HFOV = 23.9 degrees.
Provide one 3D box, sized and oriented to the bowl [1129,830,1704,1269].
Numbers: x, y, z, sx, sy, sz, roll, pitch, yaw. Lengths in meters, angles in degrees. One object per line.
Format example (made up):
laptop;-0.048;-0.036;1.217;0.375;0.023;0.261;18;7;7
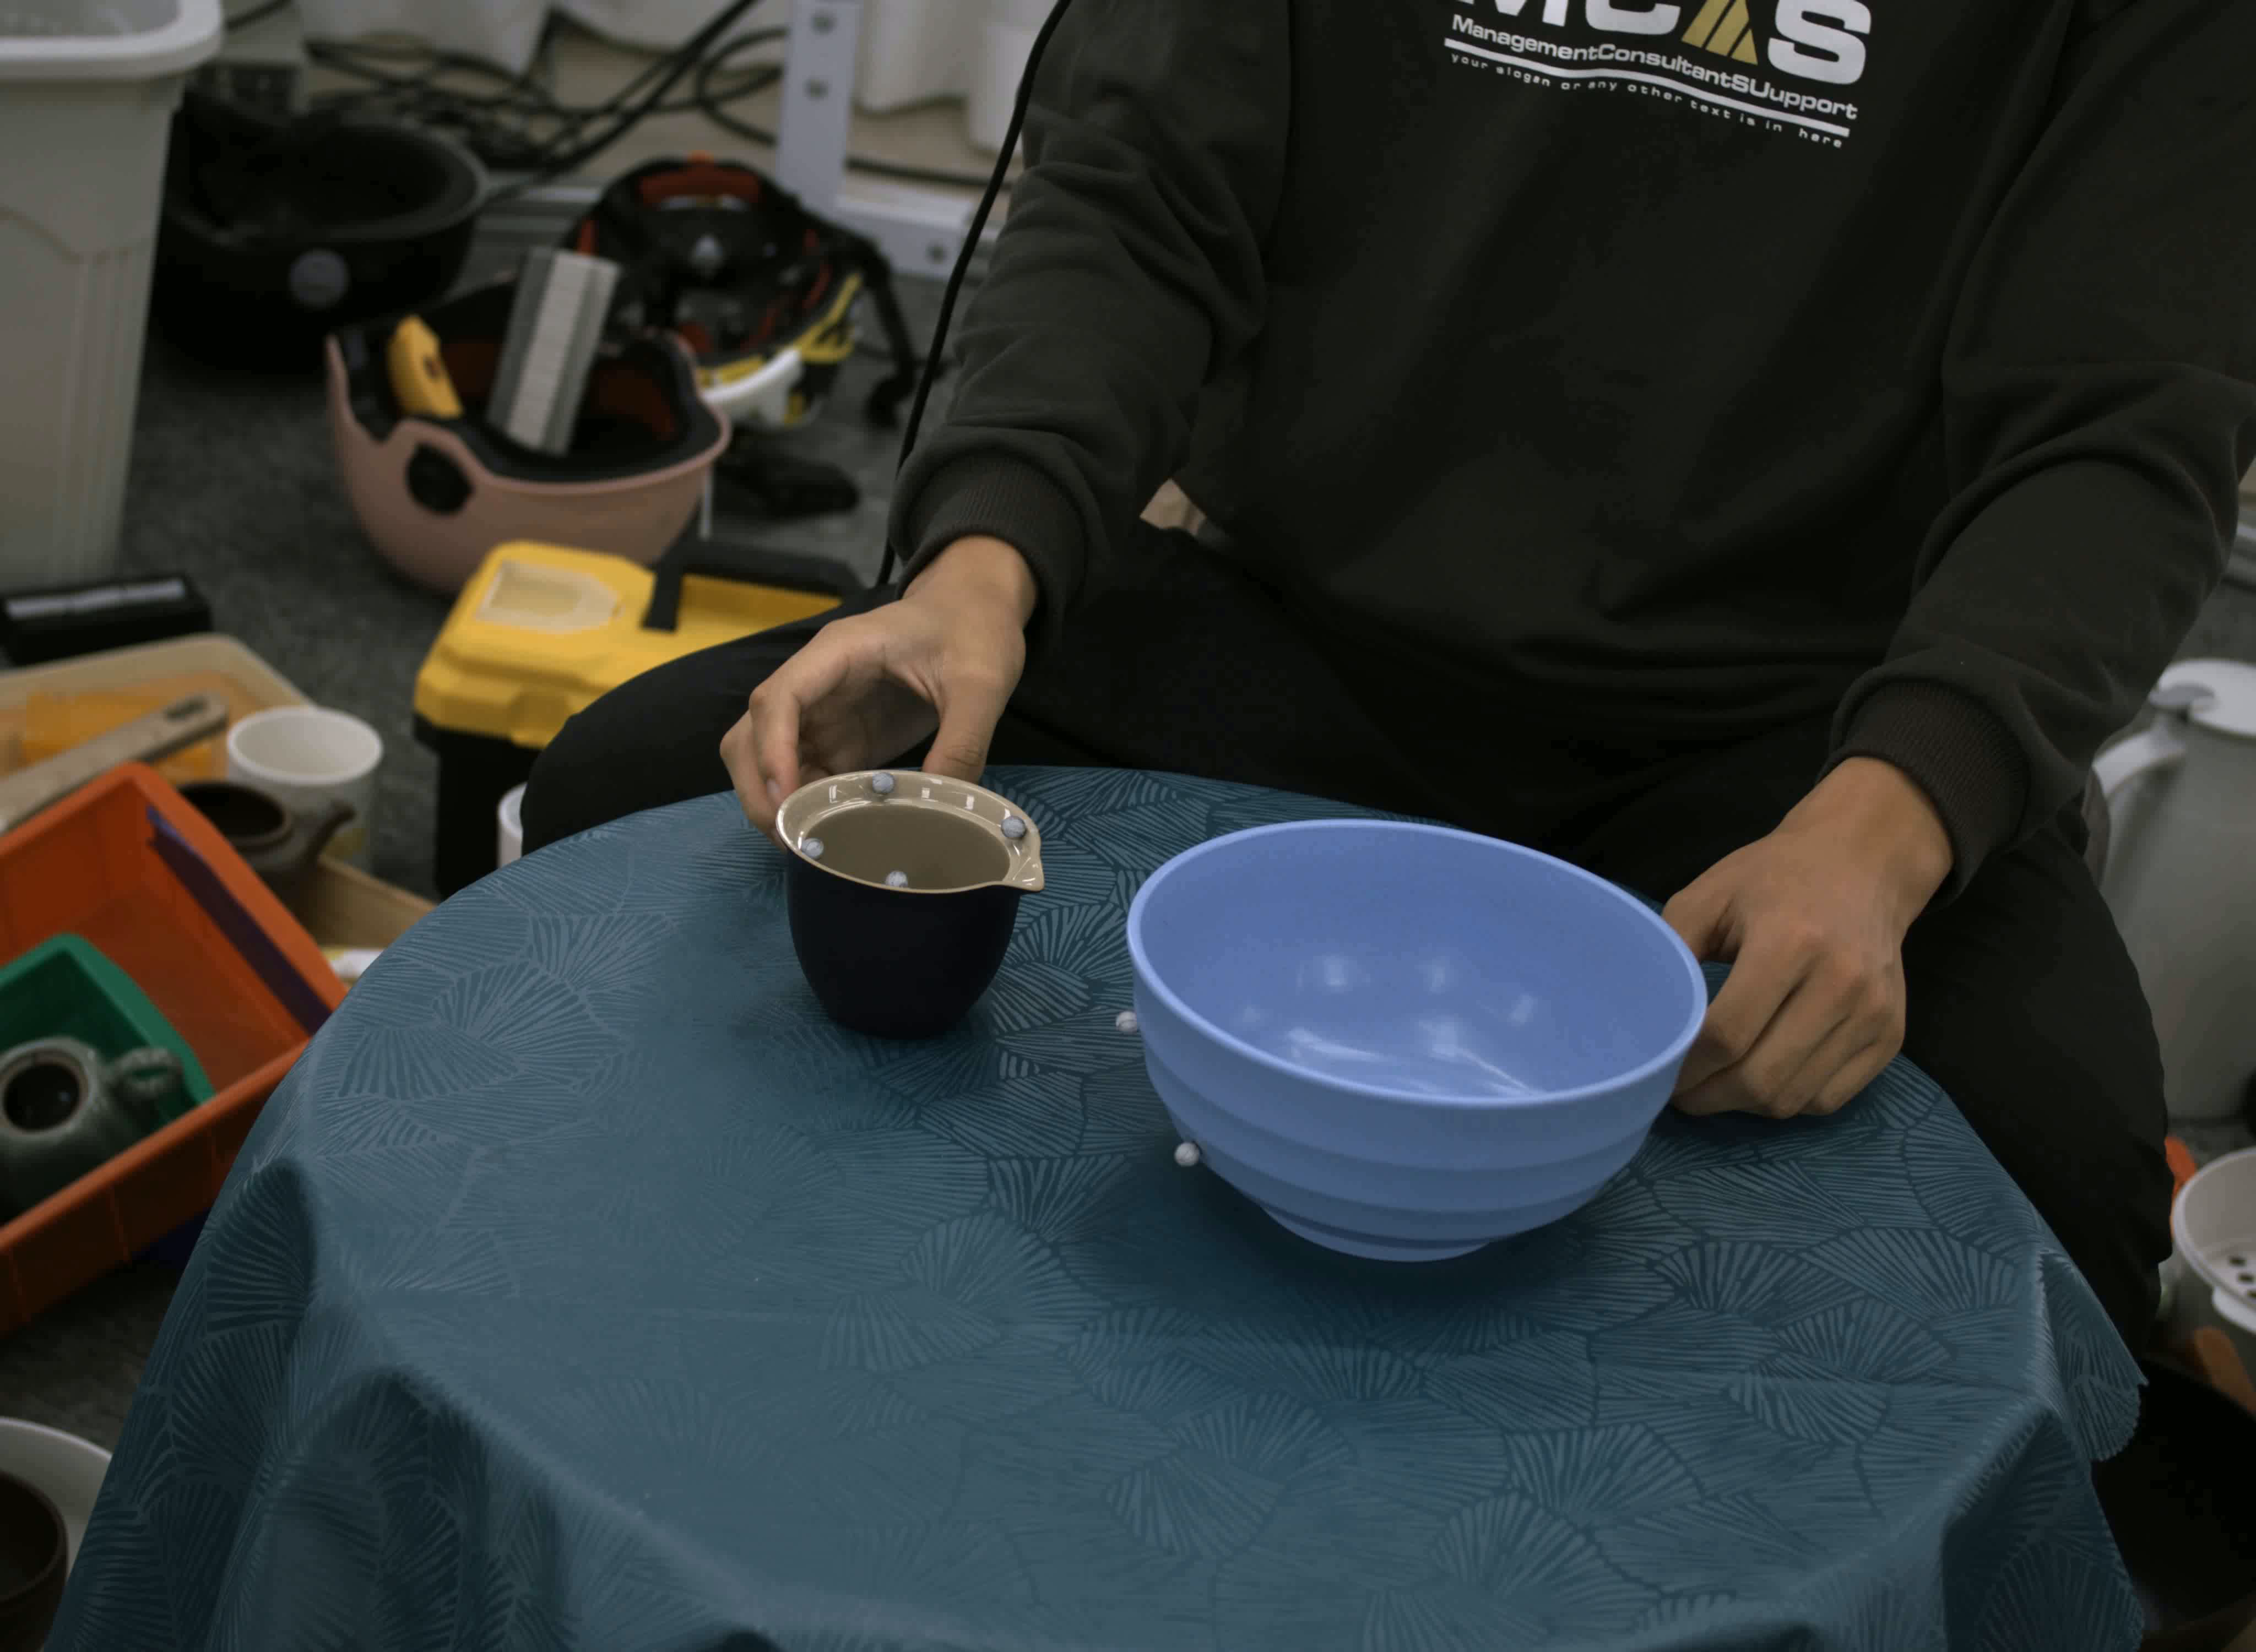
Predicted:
bowl;0.090;0.086;1.805;0.196;0.095;0.197;7;25;-4

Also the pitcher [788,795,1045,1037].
pitcher;-0.076;0.034;1.886;0.096;0.071;0.083;19;28;24
